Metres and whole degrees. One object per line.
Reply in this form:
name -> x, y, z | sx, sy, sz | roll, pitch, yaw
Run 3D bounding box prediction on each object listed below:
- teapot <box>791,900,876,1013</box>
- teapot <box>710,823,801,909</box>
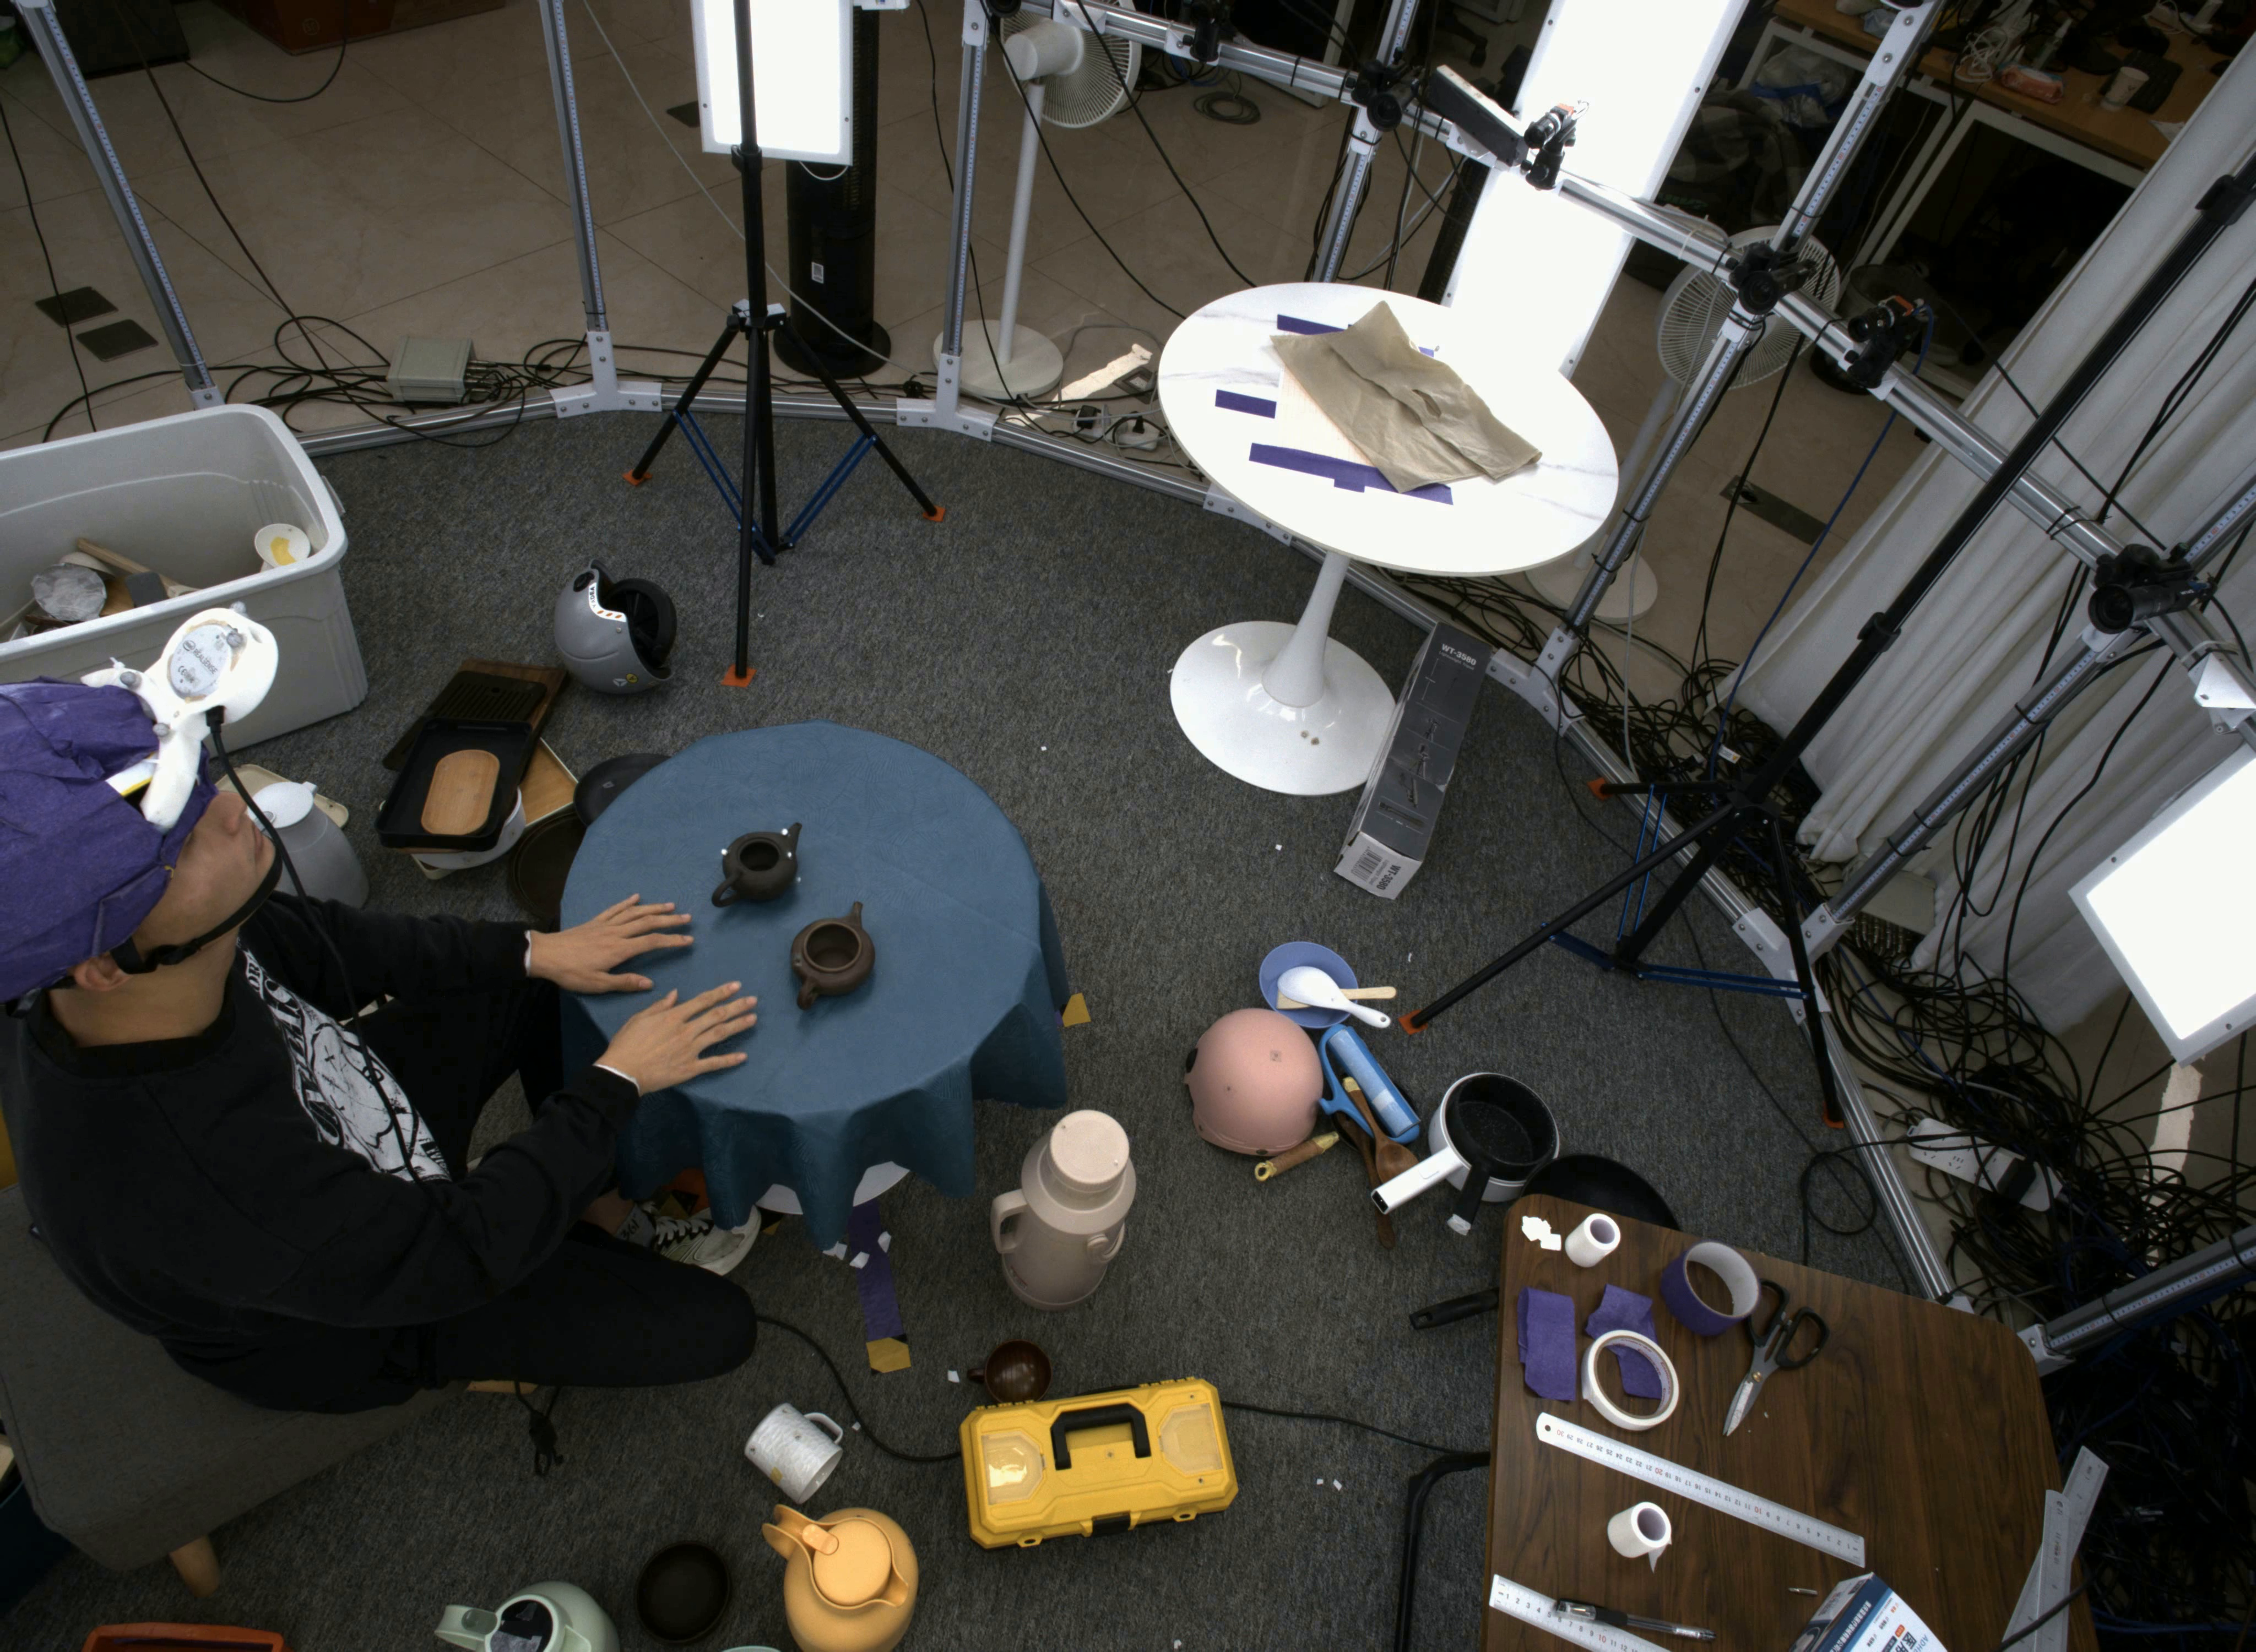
teapot -> -0.361, 0.159, 1.583 | 0.101, 0.055, 0.152 | 16, 51, 2
teapot -> -0.466, 0.052, 1.630 | 0.090, 0.066, 0.154 | 34, 53, 15
